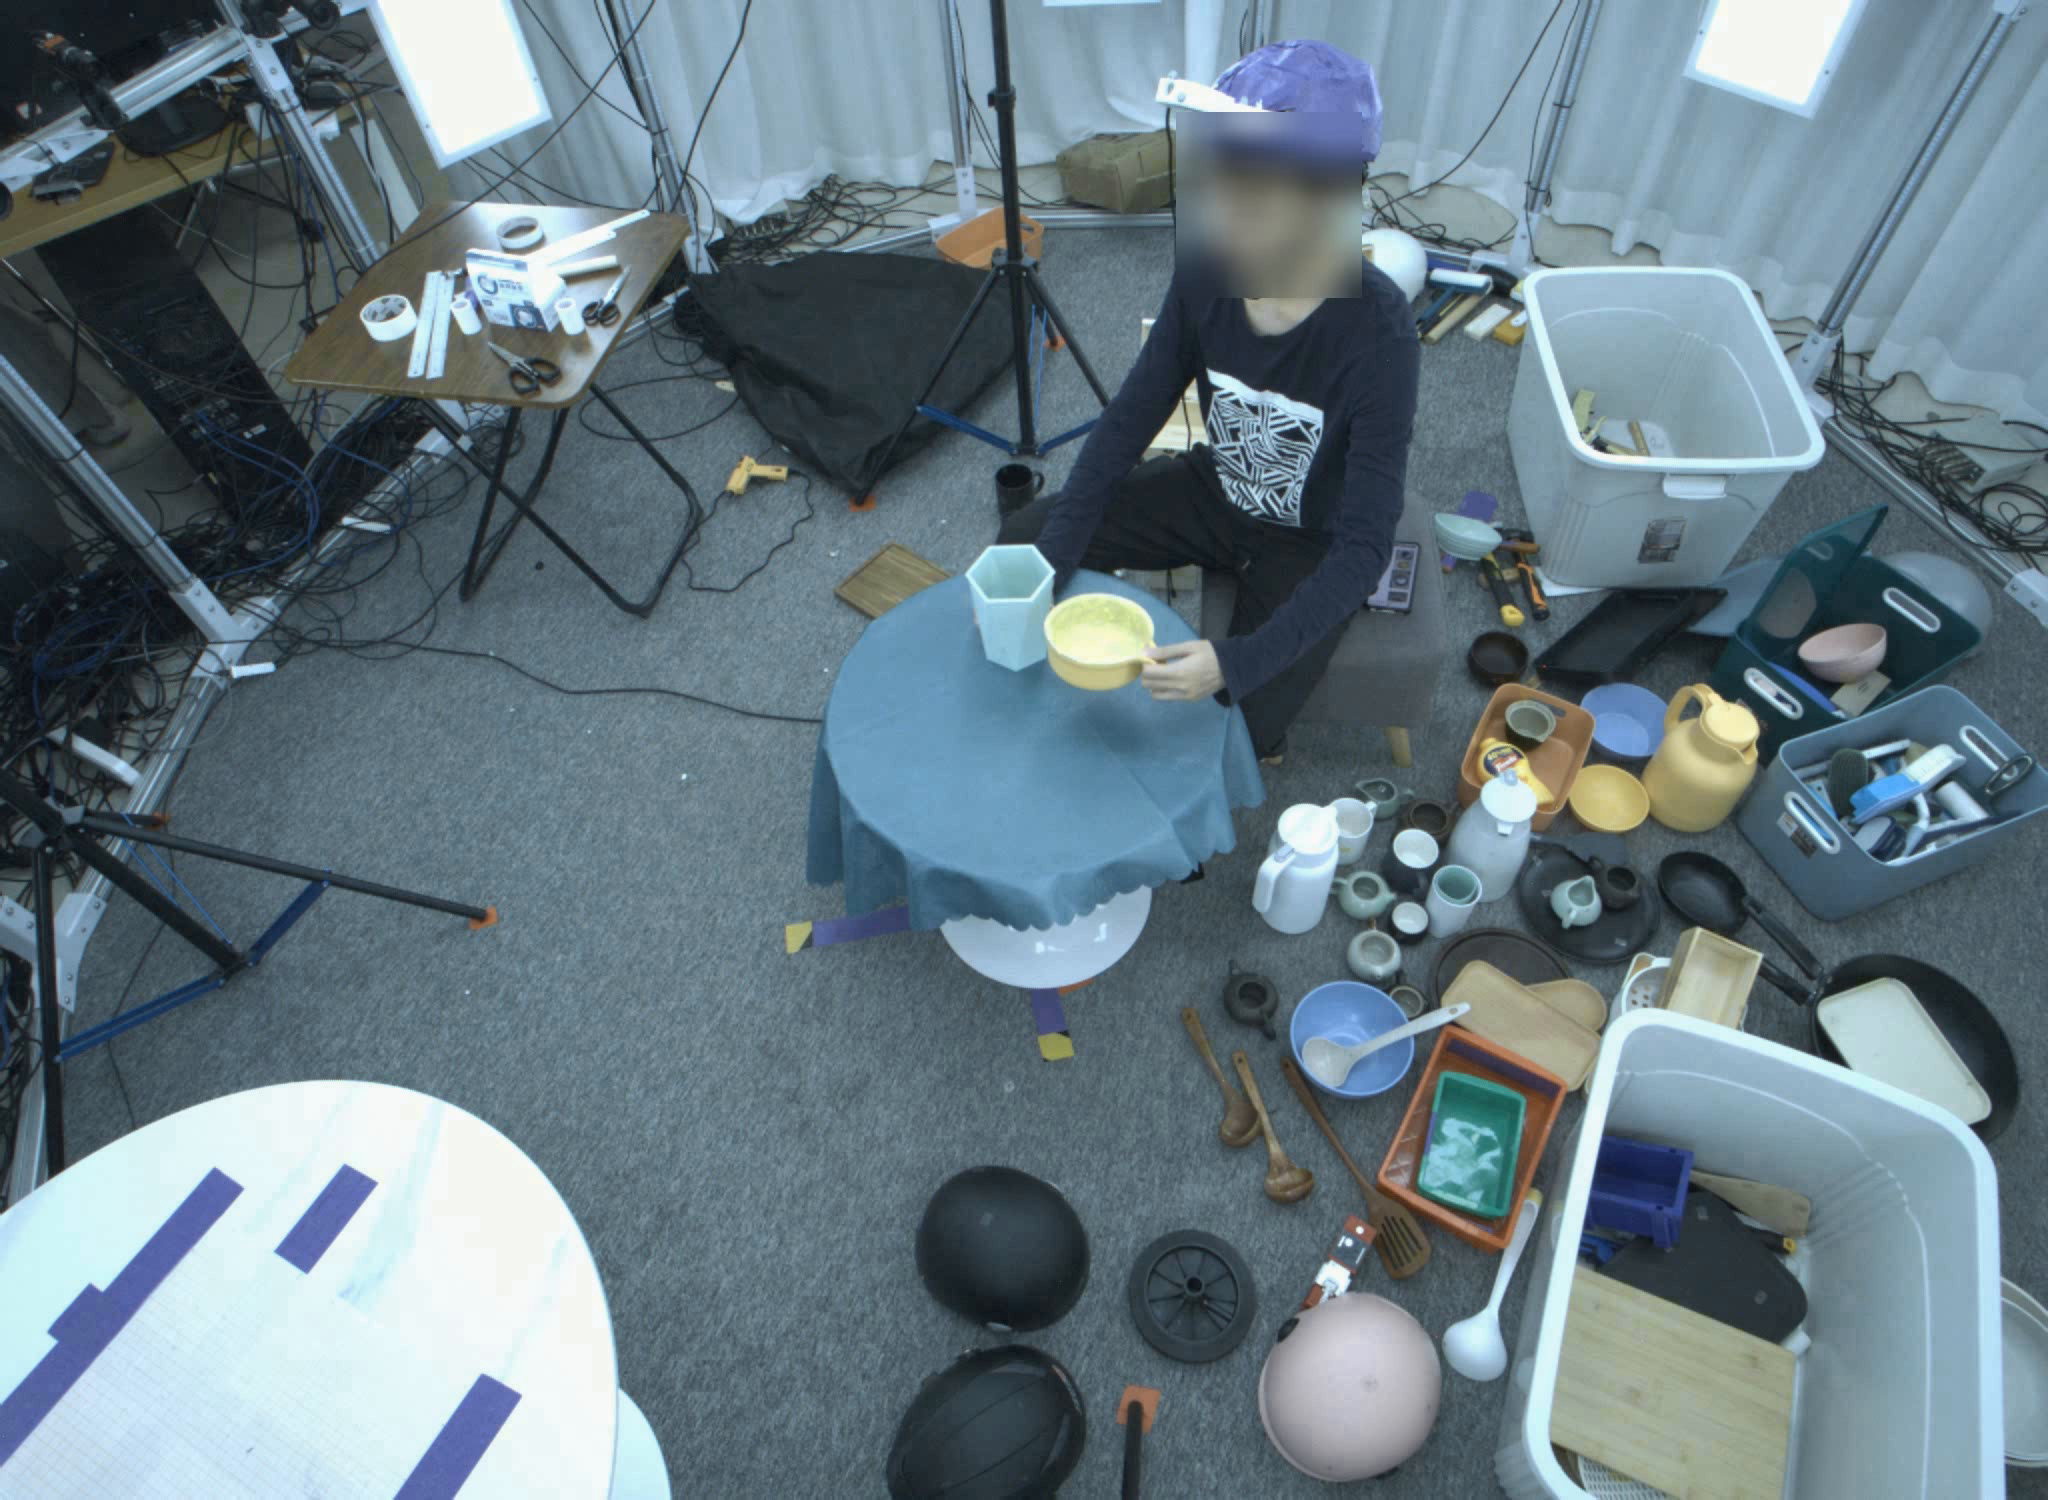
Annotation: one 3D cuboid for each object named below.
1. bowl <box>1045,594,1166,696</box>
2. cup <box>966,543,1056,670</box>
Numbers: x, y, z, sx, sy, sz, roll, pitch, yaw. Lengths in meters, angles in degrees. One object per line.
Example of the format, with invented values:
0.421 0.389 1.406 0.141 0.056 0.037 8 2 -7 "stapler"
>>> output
0.116 -0.139 1.724 0.176 0.075 0.154 25 48 22 "bowl"
-0.018 -0.209 1.829 0.116 0.164 0.128 -28 59 -18 "cup"
